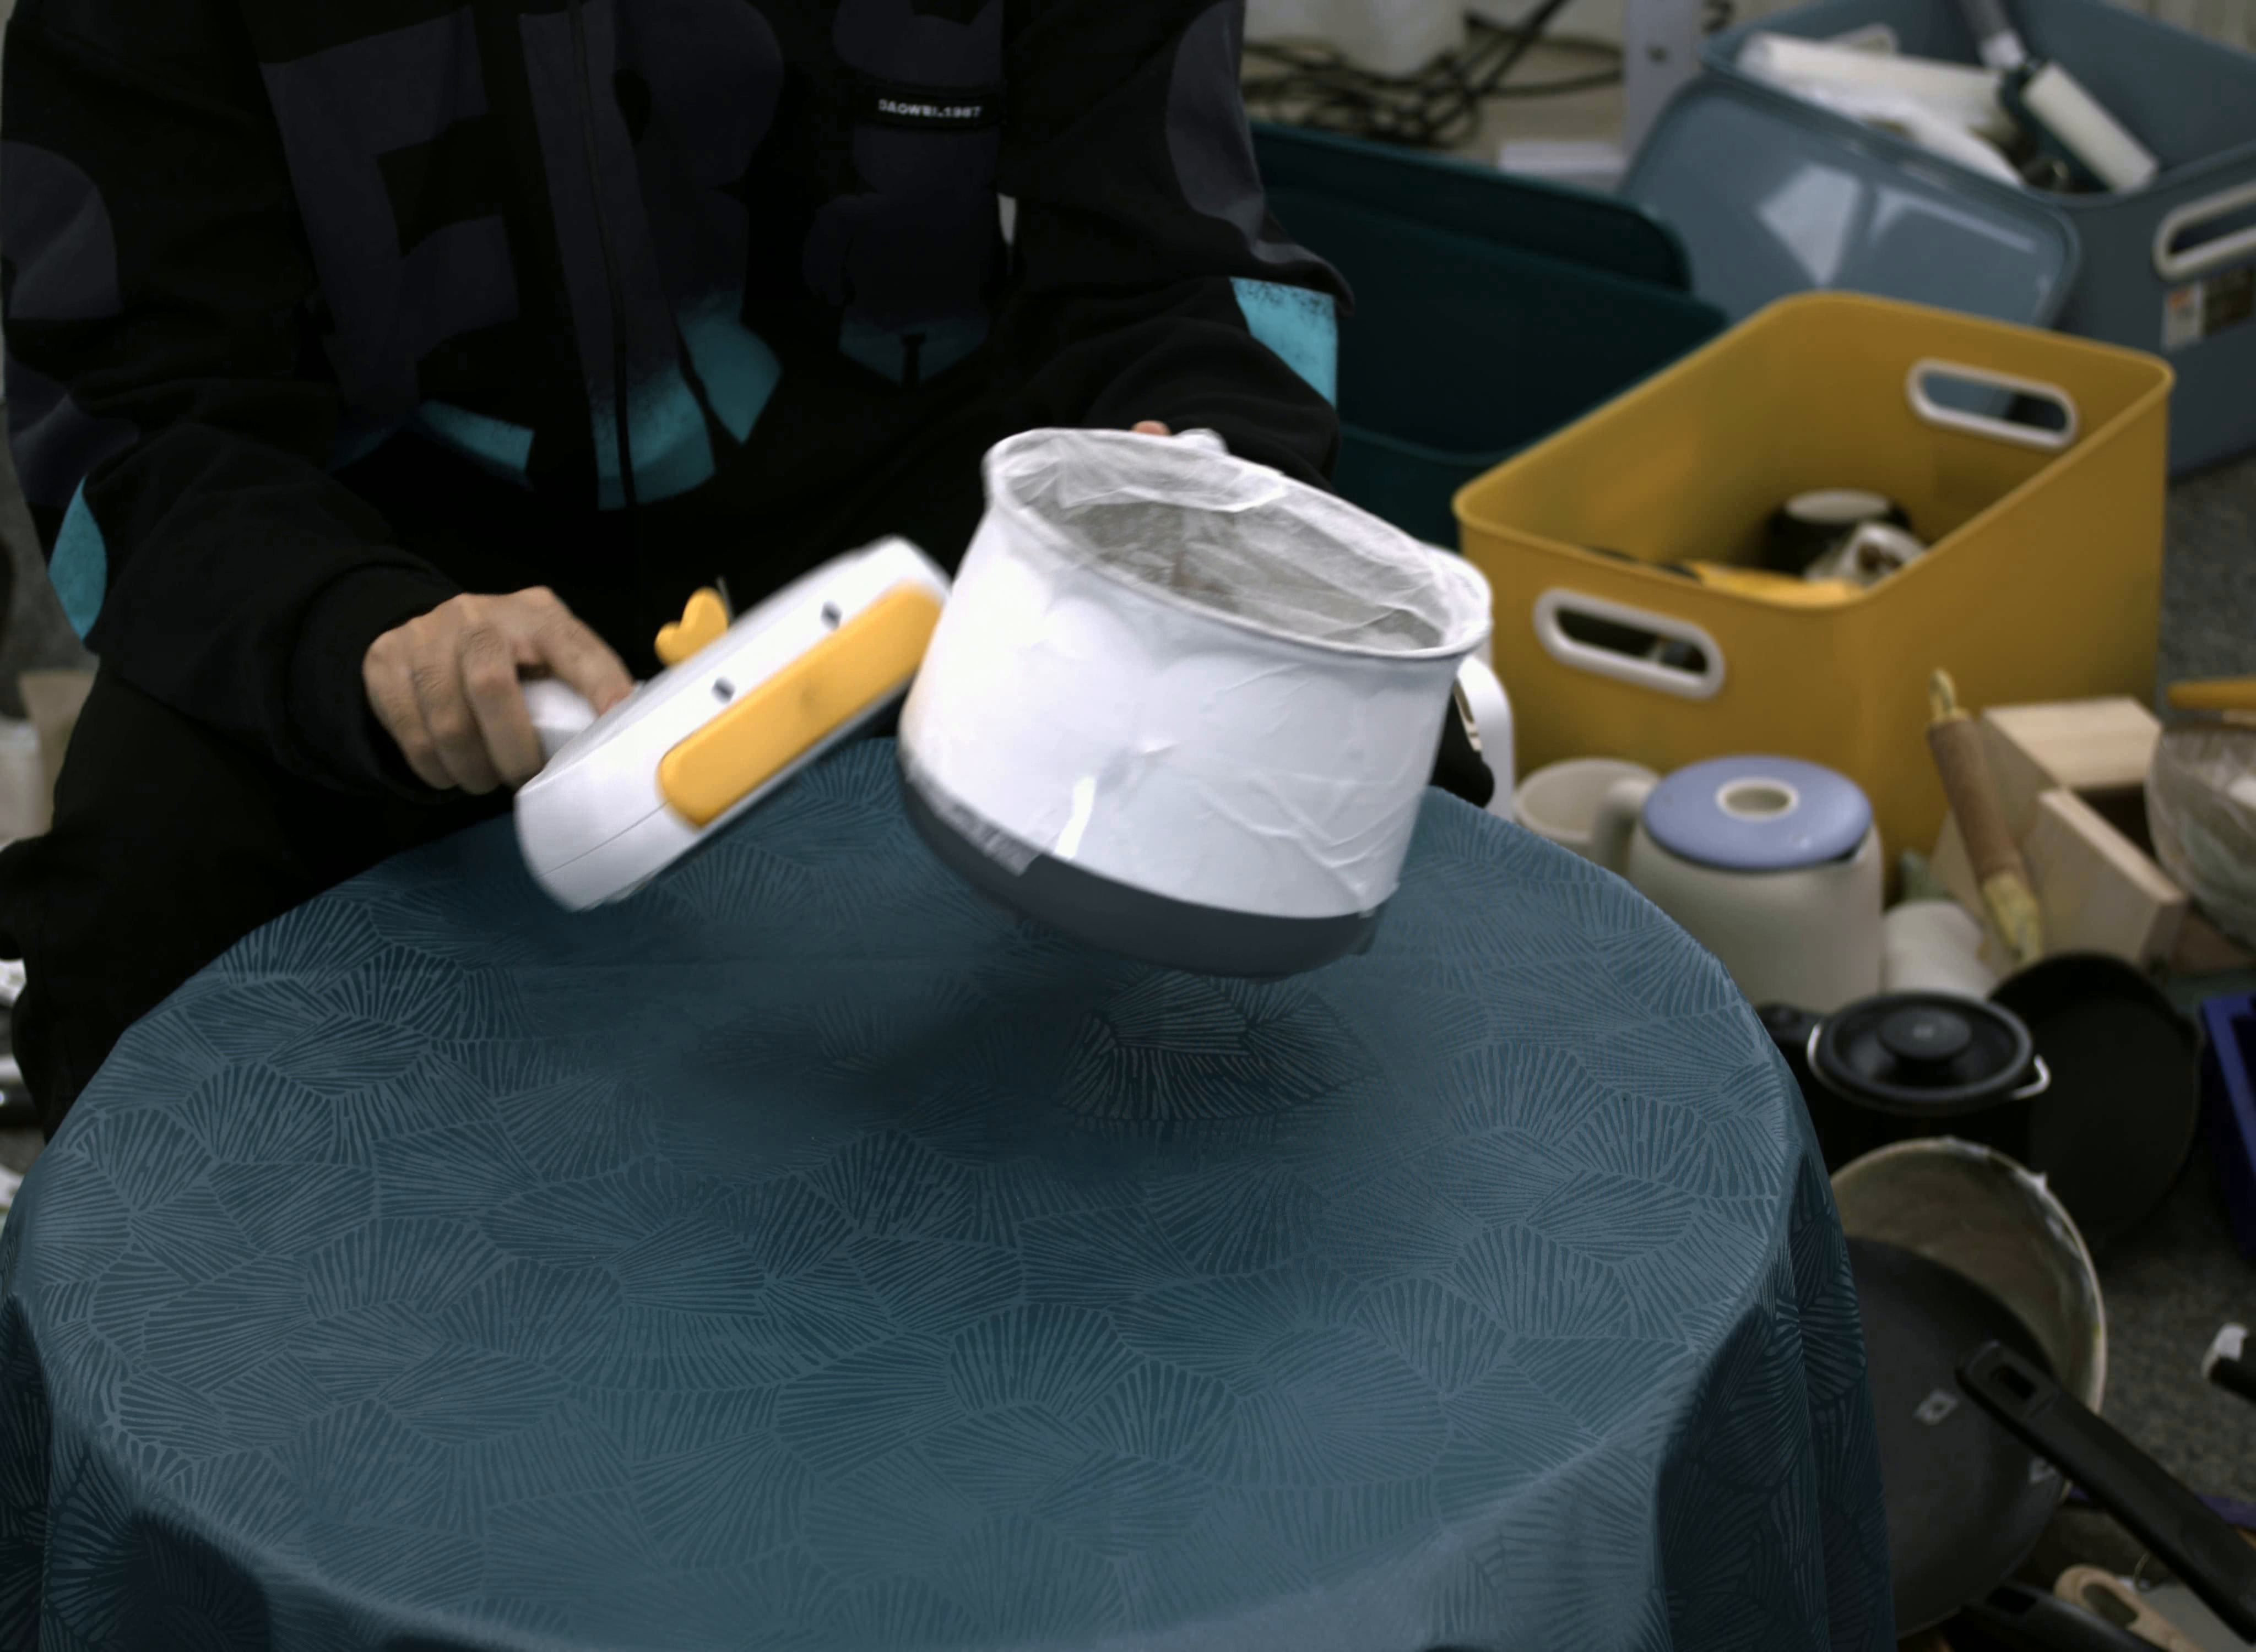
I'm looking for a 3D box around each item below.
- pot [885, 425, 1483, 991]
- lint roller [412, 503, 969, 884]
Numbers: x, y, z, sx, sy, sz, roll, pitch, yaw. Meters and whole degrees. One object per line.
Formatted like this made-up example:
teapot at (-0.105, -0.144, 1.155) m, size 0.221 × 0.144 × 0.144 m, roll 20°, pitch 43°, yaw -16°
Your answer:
pot at (0.011, -0.049, 1.910) m, size 0.178 × 0.135 × 0.236 m, roll 15°, pitch 20°, yaw -13°
lint roller at (-0.168, -0.040, 1.937) m, size 0.190 × 0.074 × 0.196 m, roll -15°, pitch 22°, yaw 41°
